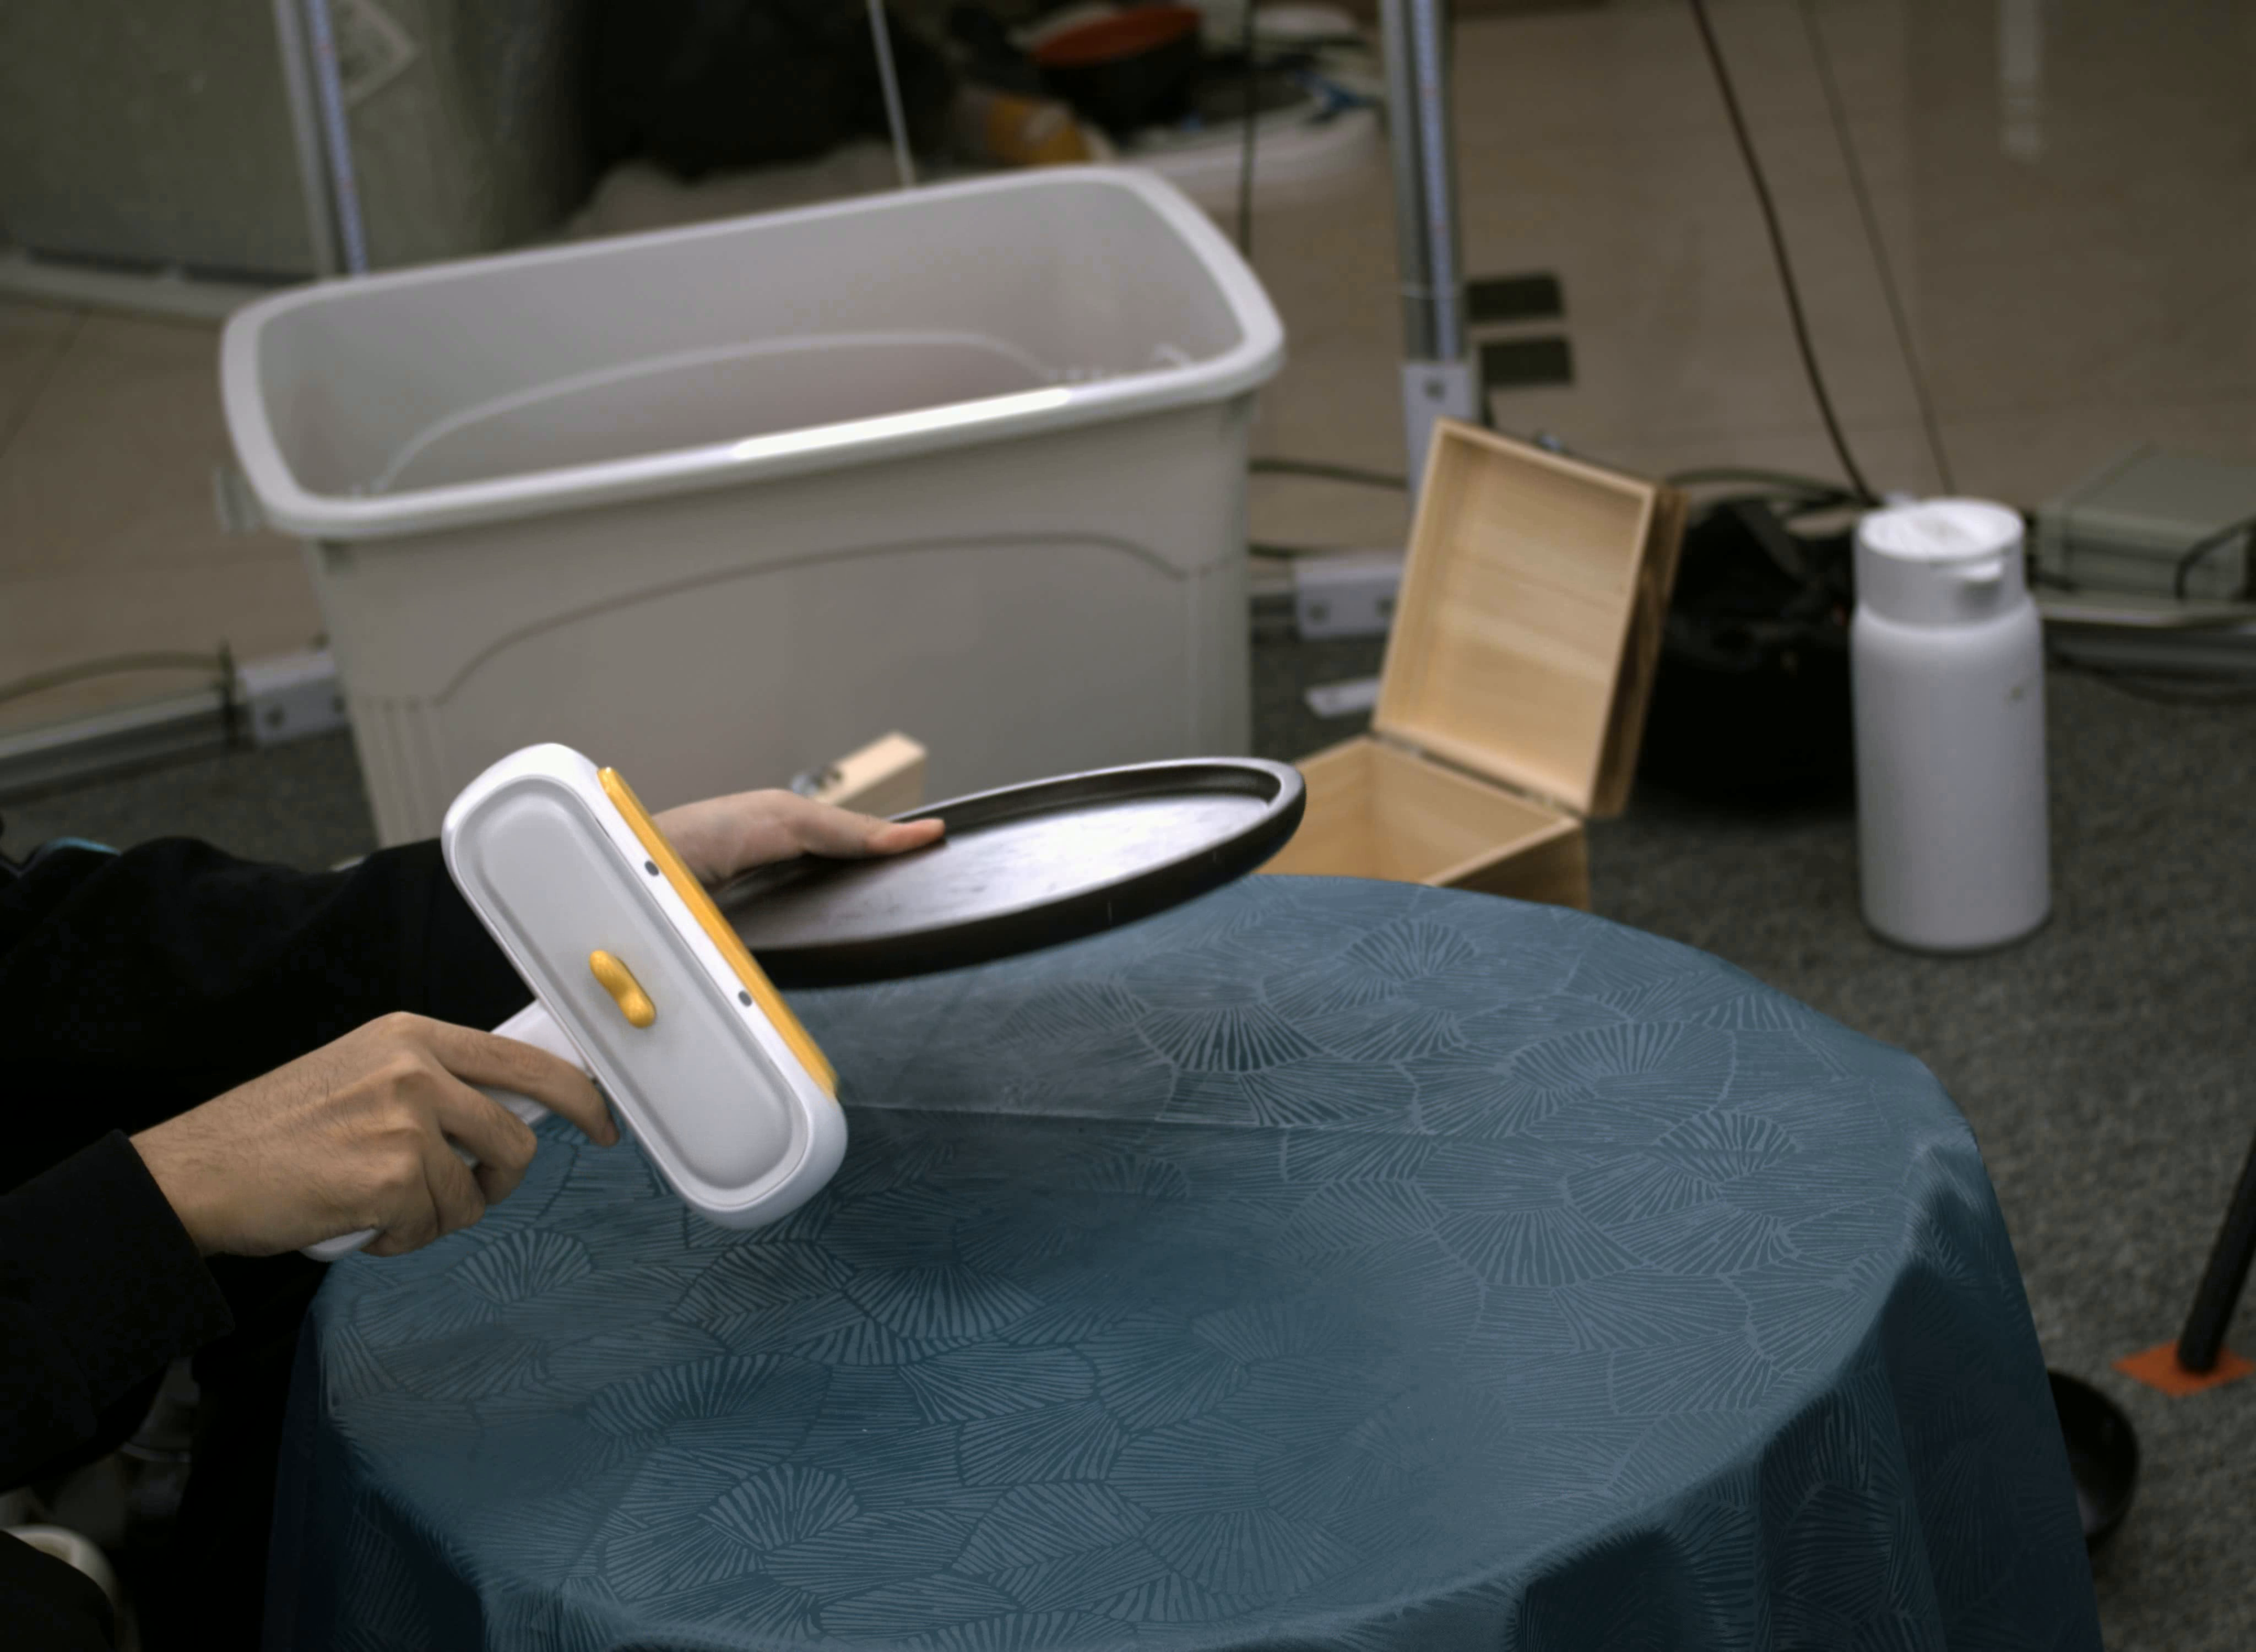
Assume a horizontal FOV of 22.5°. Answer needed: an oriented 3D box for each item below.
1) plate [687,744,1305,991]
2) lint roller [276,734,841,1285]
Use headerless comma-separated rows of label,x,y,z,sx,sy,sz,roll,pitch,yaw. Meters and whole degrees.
plate,-0.053,0.017,2.177,0.254,0.029,0.253,-14,10,3
lint roller,-0.223,0.090,2.027,0.192,0.193,0.074,-40,4,-3
